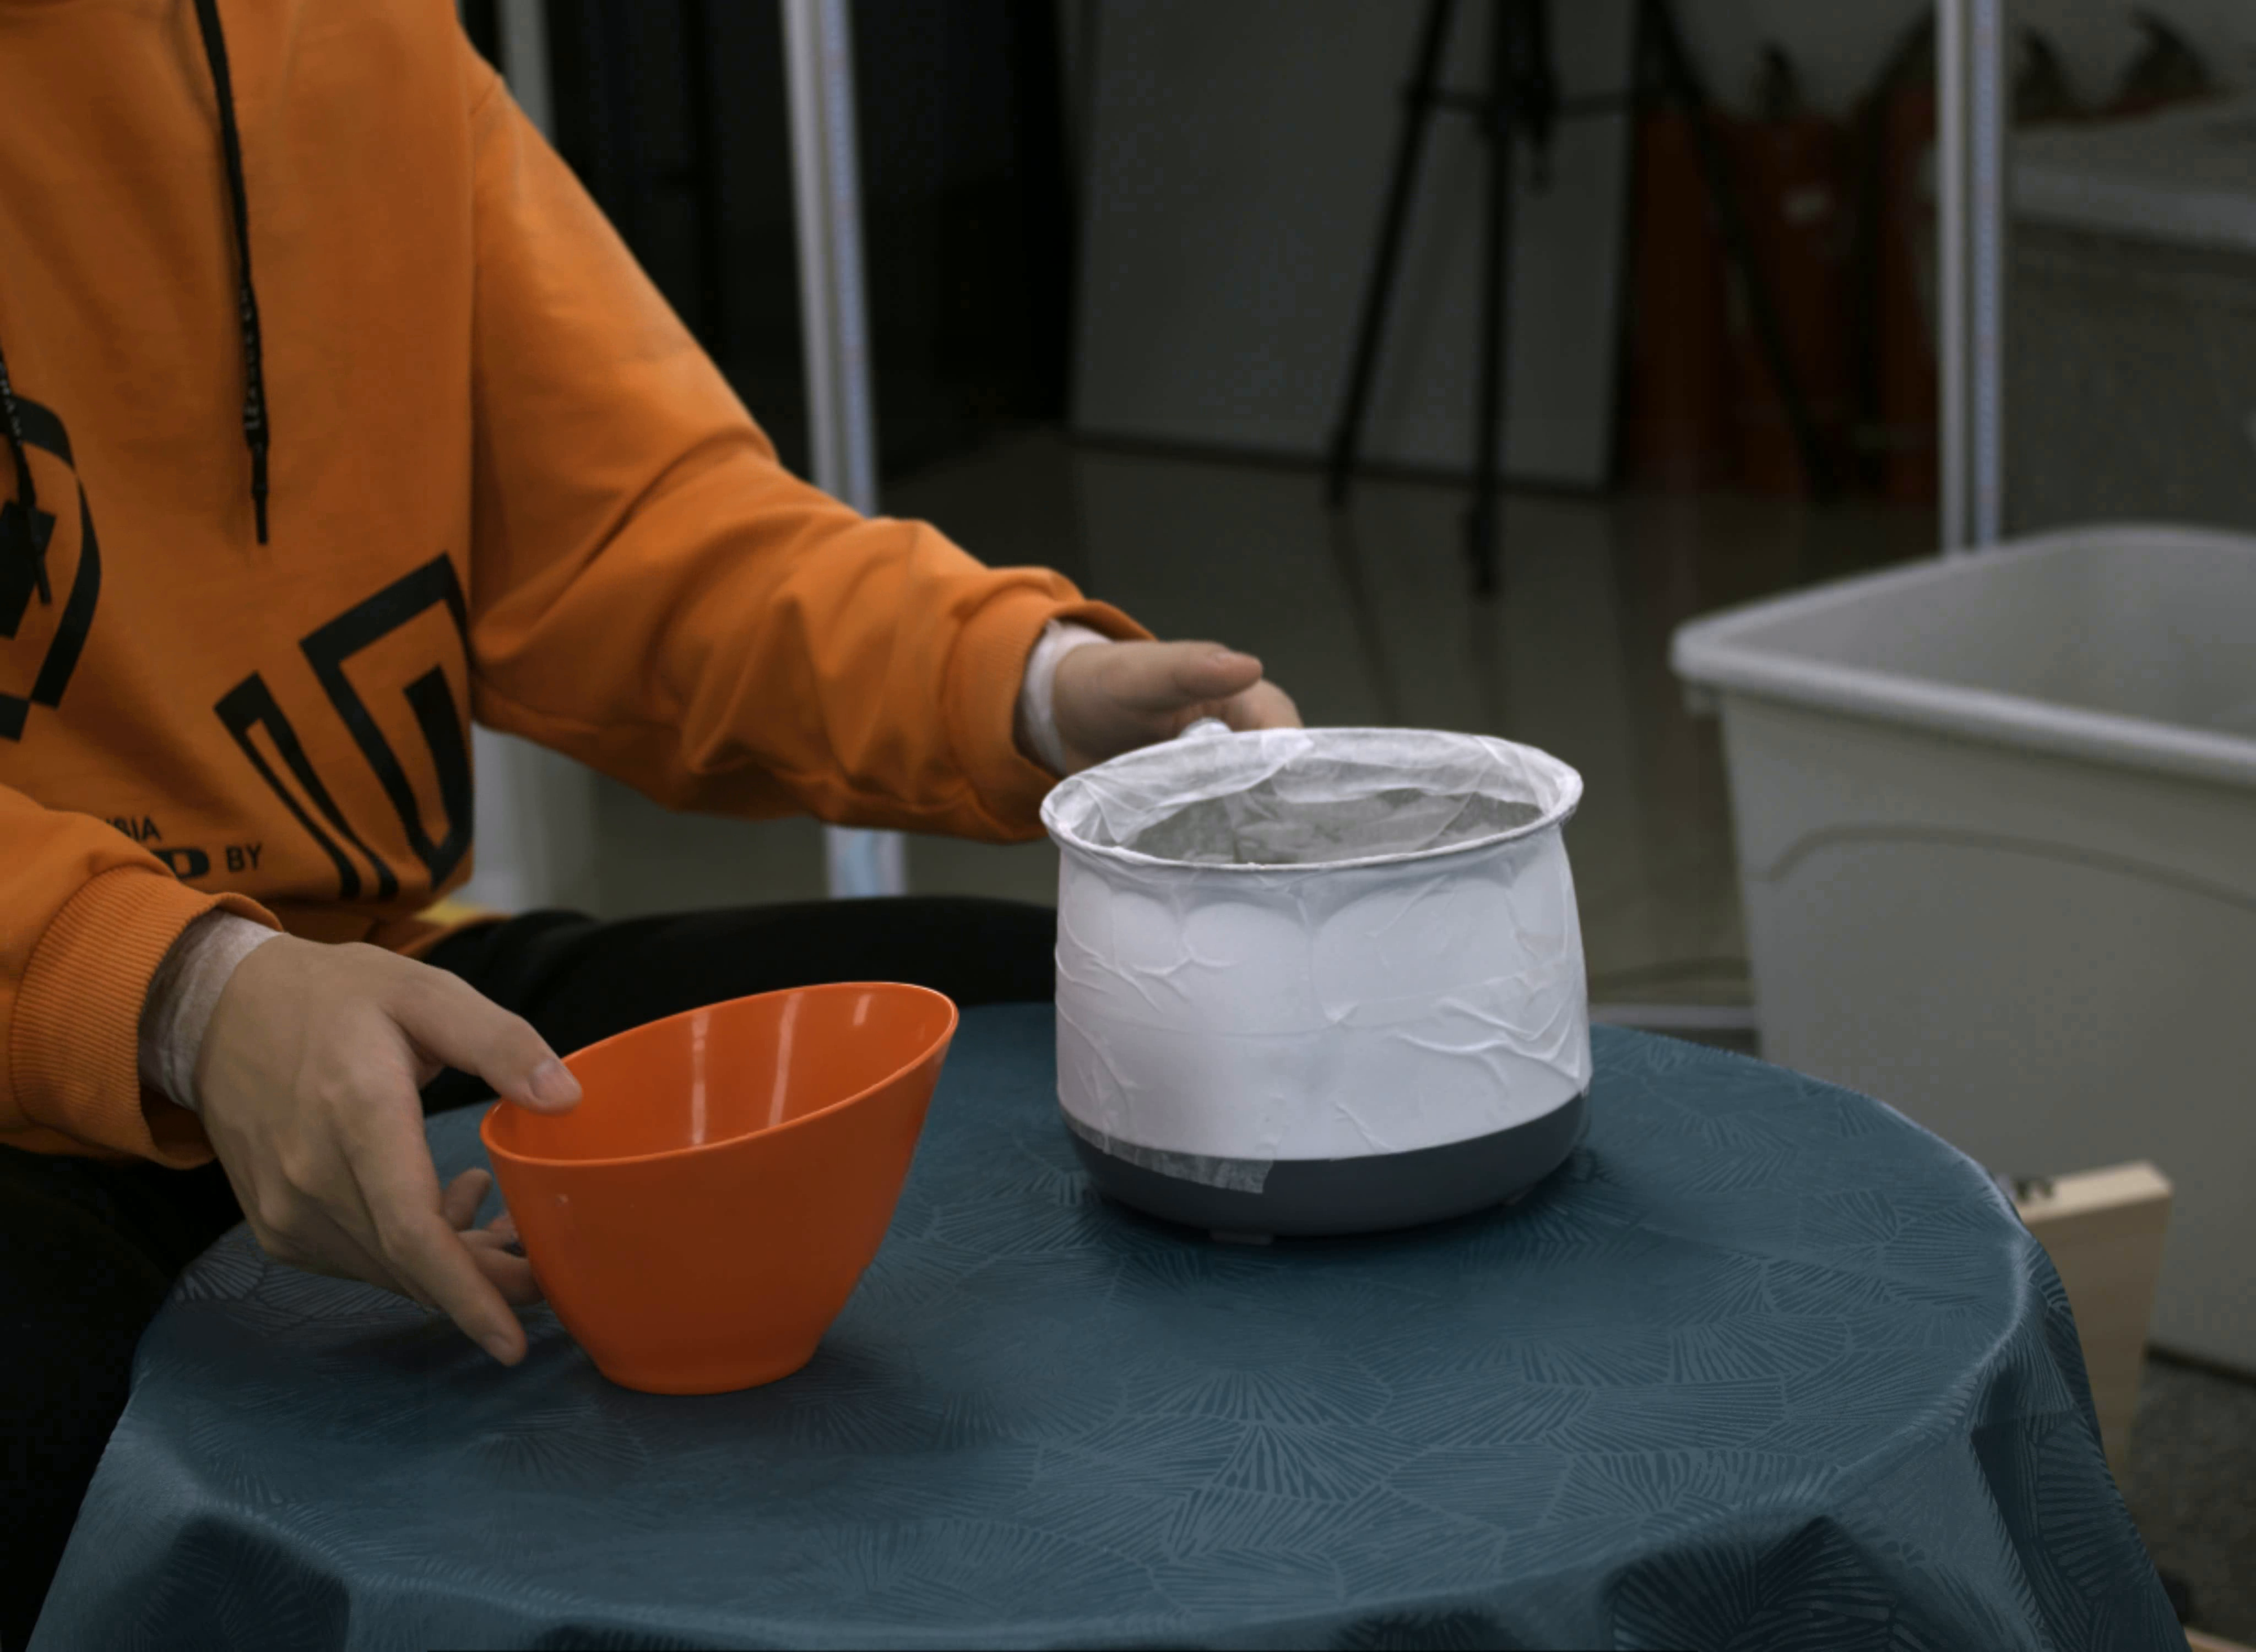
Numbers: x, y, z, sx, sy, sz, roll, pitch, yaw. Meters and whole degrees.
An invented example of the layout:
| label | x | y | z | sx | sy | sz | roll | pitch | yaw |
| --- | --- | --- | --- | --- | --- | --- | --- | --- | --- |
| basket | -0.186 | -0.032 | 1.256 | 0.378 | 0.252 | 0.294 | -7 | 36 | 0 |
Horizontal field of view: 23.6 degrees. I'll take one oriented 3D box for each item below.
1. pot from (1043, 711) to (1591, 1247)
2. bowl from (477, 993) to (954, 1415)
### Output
| label | x | y | z | sx | sy | sz | roll | pitch | yaw |
| --- | --- | --- | --- | --- | --- | --- | --- | --- | --- |
| pot | 0.053 | 0.044 | 1.778 | 0.175 | 0.138 | 0.236 | -8 | 15 | -18 |
| bowl | -0.120 | 0.116 | 1.626 | 0.146 | 0.106 | 0.148 | -5 | 13 | 0 |
